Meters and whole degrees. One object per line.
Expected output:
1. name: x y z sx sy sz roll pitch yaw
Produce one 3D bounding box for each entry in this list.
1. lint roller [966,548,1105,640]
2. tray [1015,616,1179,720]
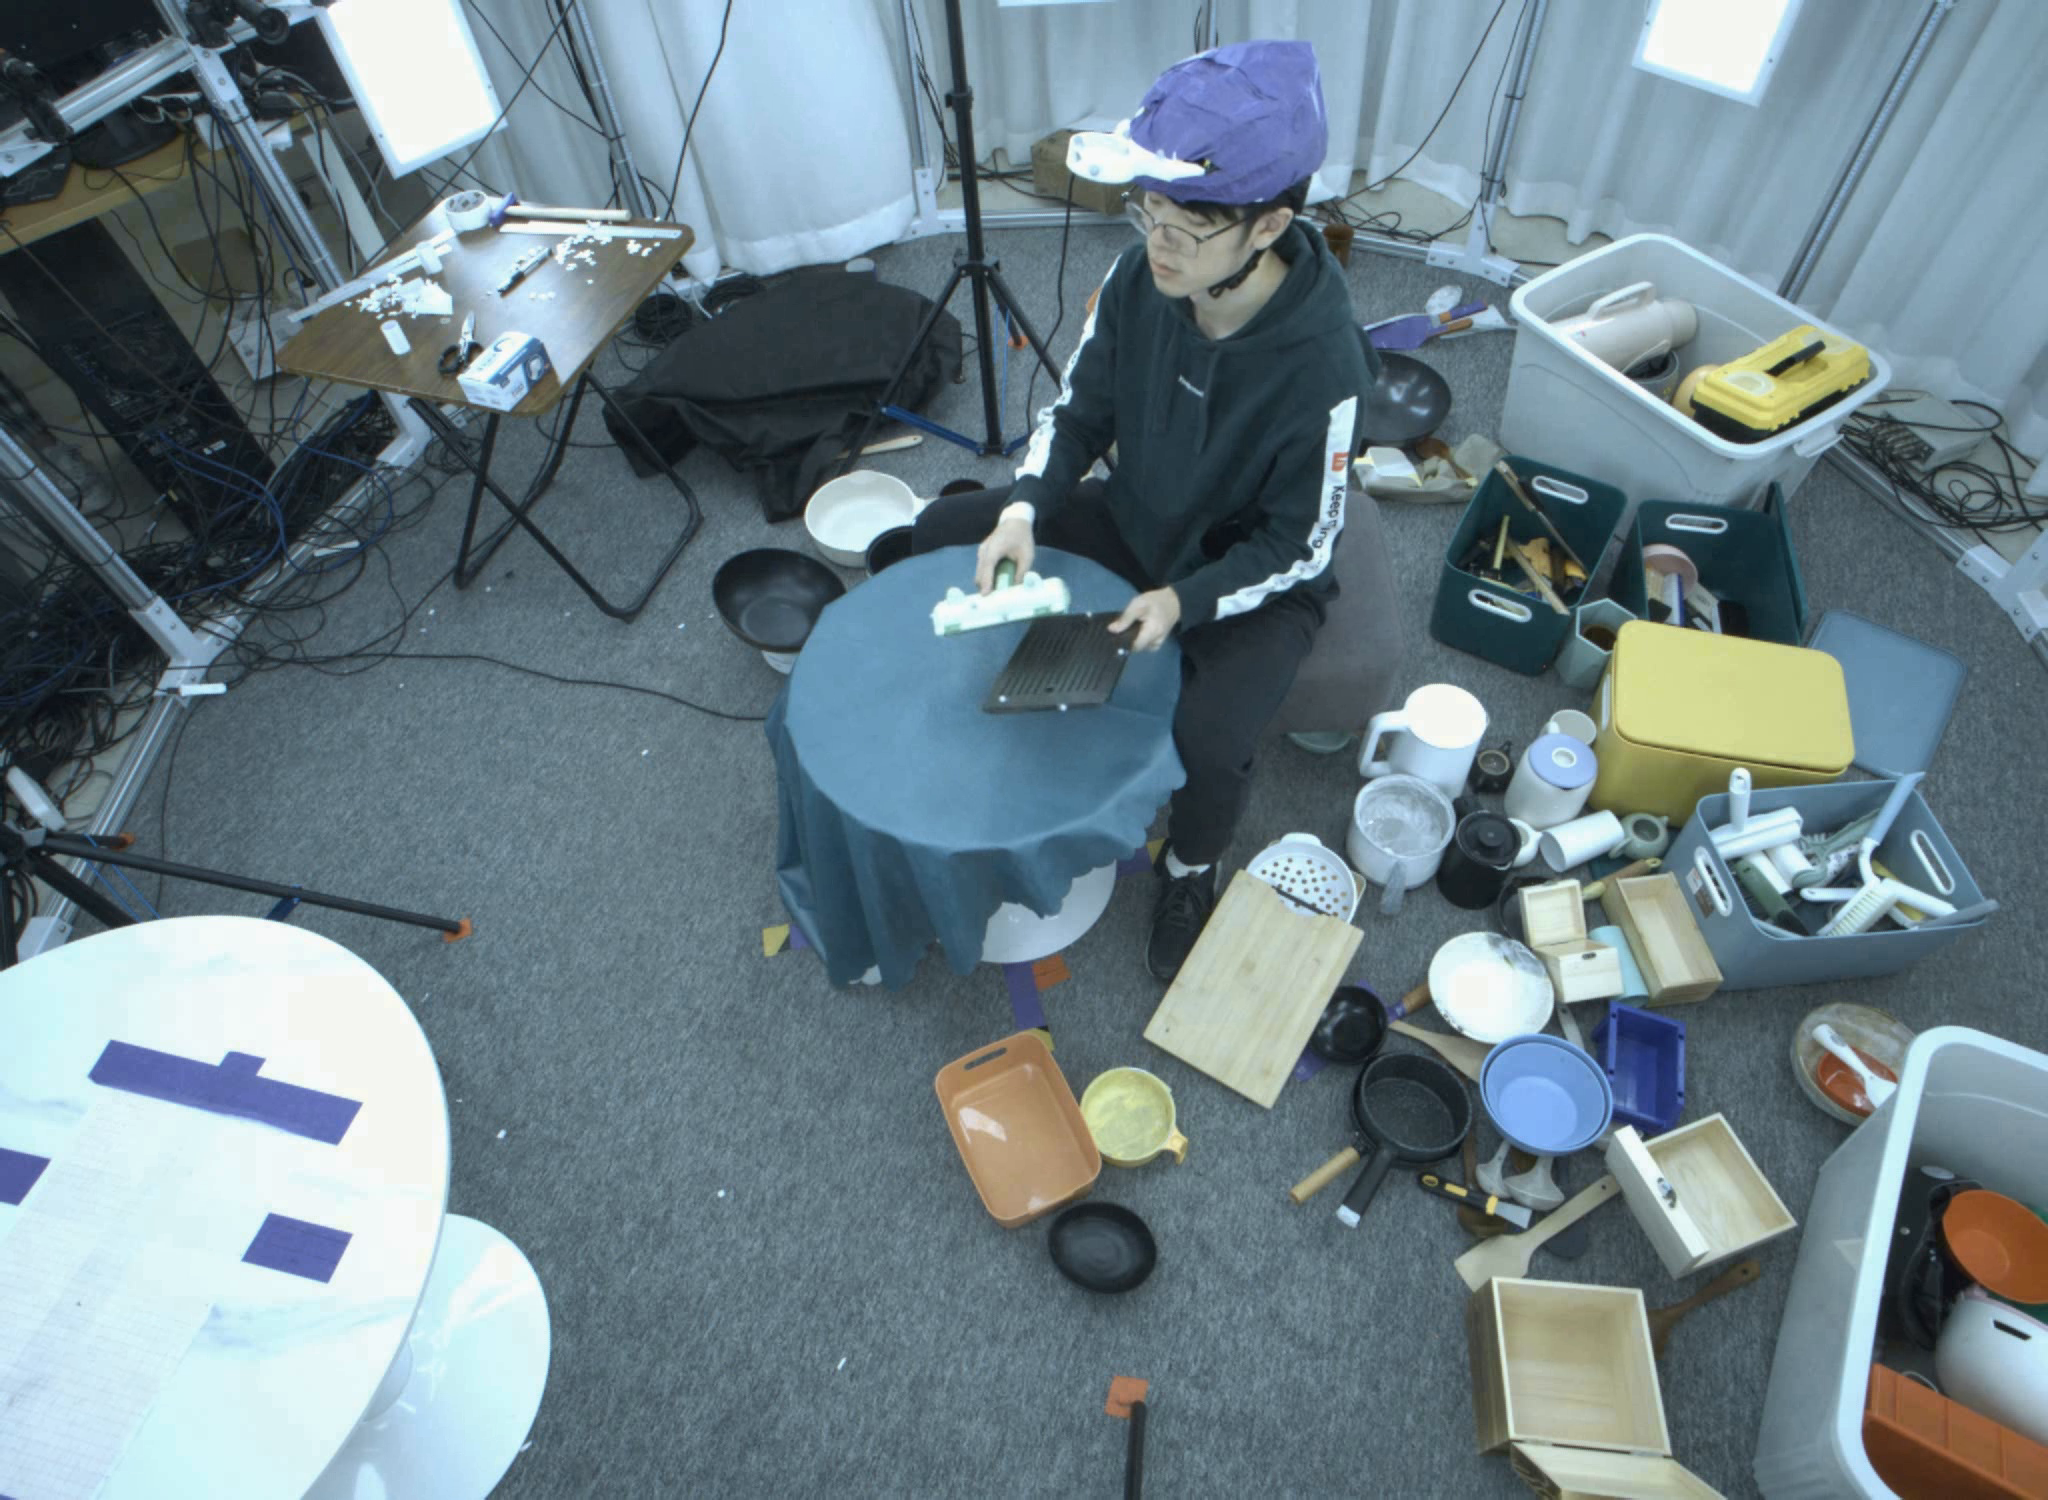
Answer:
1. lint roller: 0.016 -0.246 1.776 0.196 0.084 0.181 -8 53 16
2. tray: 0.106 -0.114 1.681 0.168 0.019 0.306 -1 28 18
